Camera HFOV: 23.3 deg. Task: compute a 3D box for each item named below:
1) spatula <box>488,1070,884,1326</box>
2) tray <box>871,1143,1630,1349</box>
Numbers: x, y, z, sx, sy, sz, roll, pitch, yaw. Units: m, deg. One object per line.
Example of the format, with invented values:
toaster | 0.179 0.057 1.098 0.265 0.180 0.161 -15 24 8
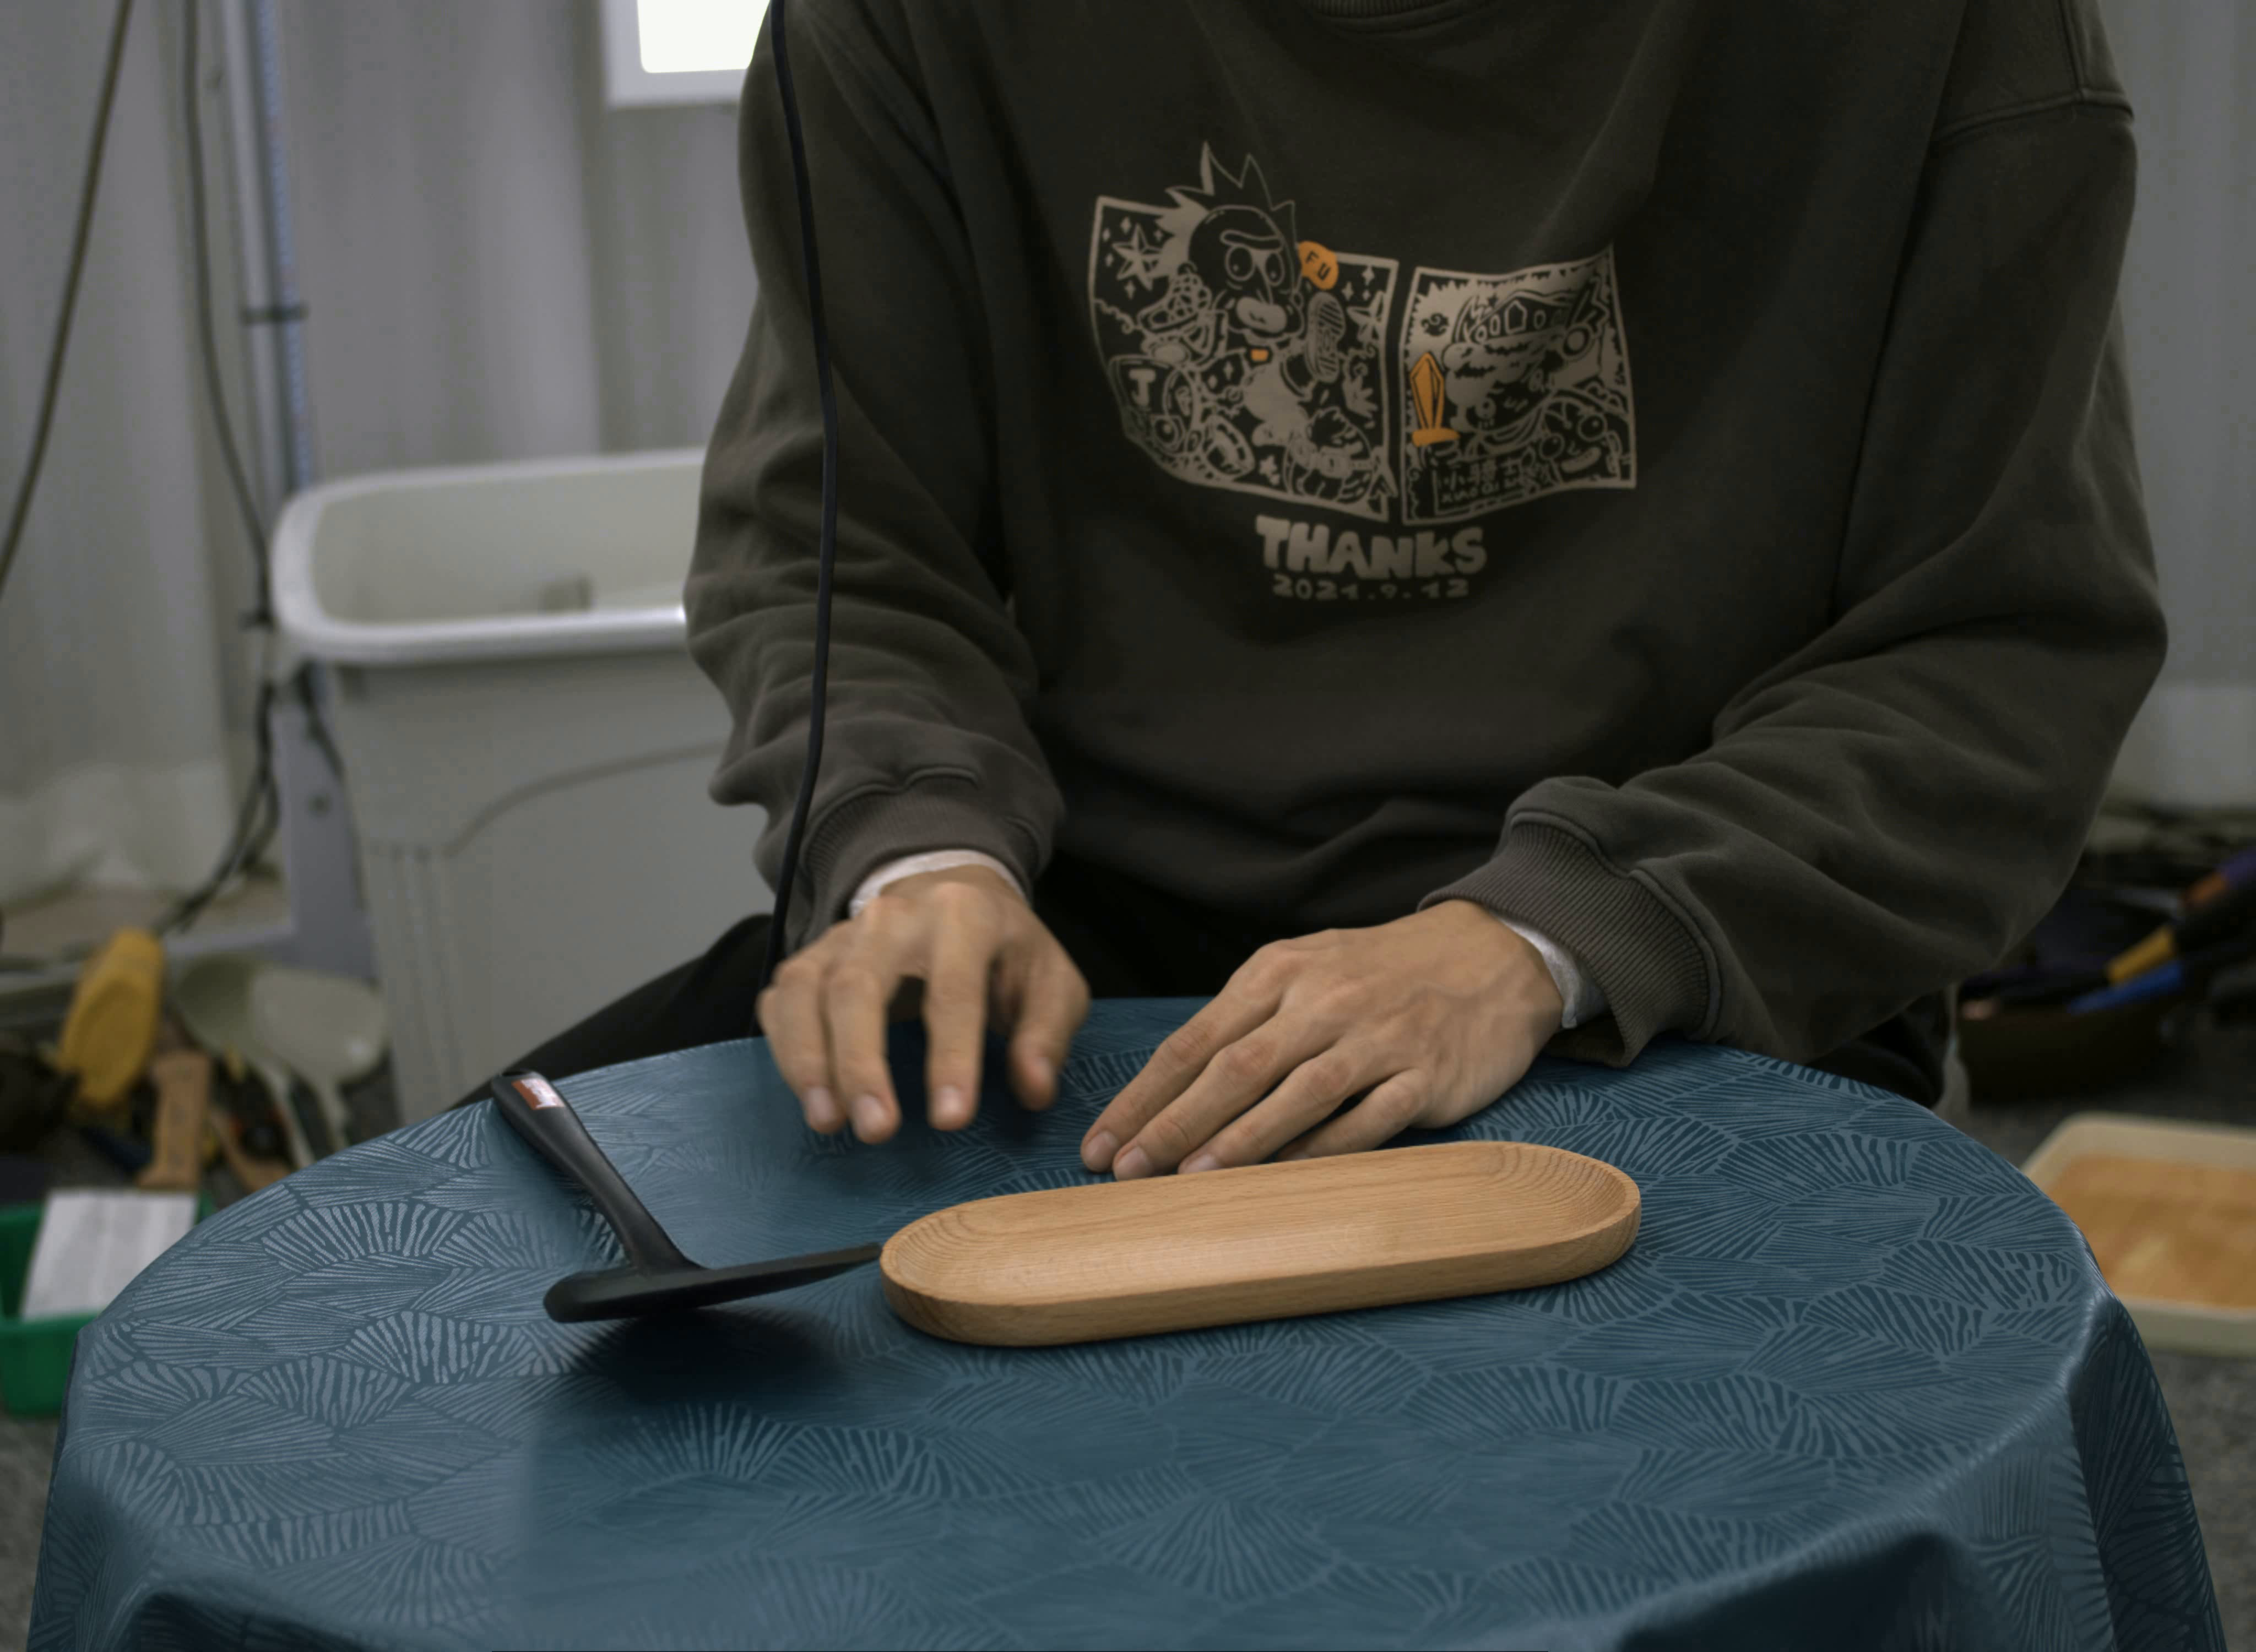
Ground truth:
spatula | -0.161 0.110 1.703 0.099 0.040 0.329 -6 15 -17
tray | 0.037 0.126 1.641 0.230 0.020 0.102 -7 15 -10
